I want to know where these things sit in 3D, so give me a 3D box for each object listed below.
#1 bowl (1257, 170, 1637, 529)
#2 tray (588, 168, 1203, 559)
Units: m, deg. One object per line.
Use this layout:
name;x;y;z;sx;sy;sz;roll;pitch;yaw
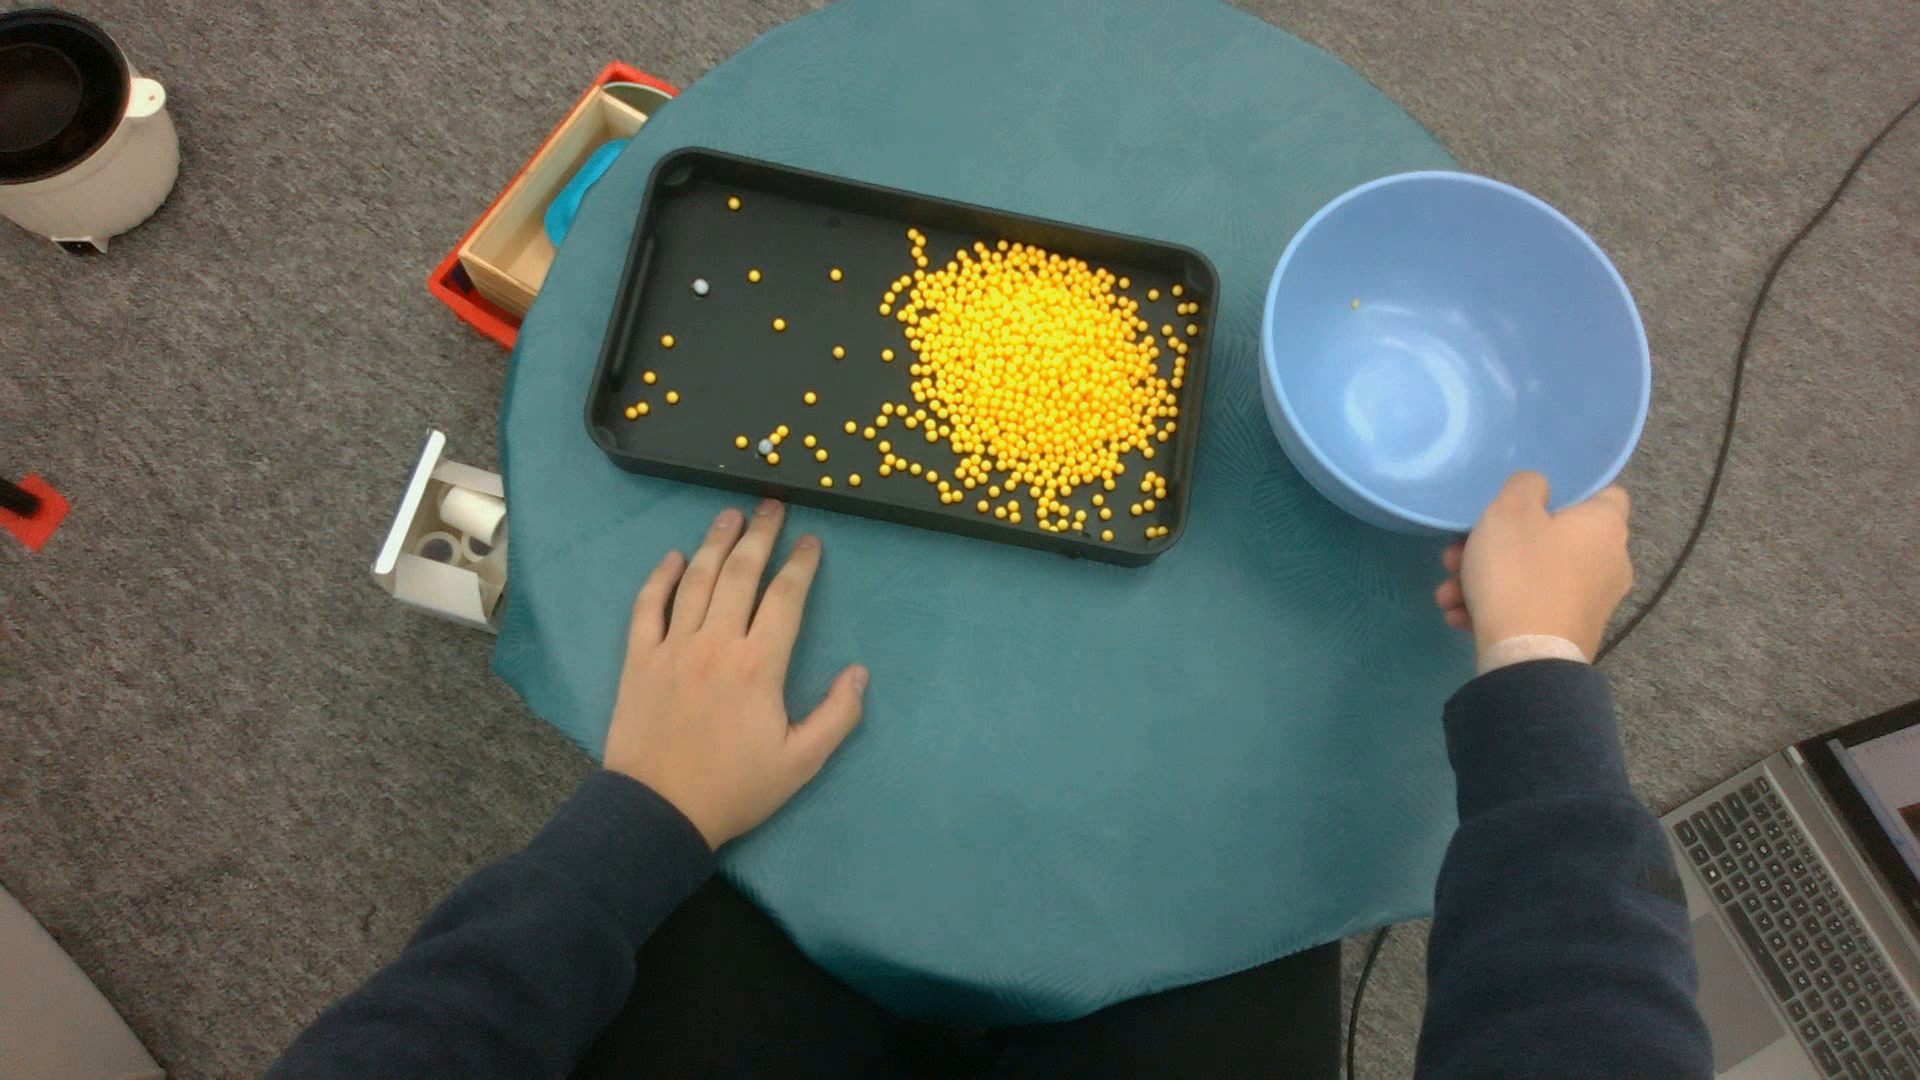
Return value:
bowl;0.246;-0.089;0.743;0.196;0.095;0.197;1;72;-4
tray;-0.030;-0.097;0.762;0.318;0.037;0.185;8;73;-2
